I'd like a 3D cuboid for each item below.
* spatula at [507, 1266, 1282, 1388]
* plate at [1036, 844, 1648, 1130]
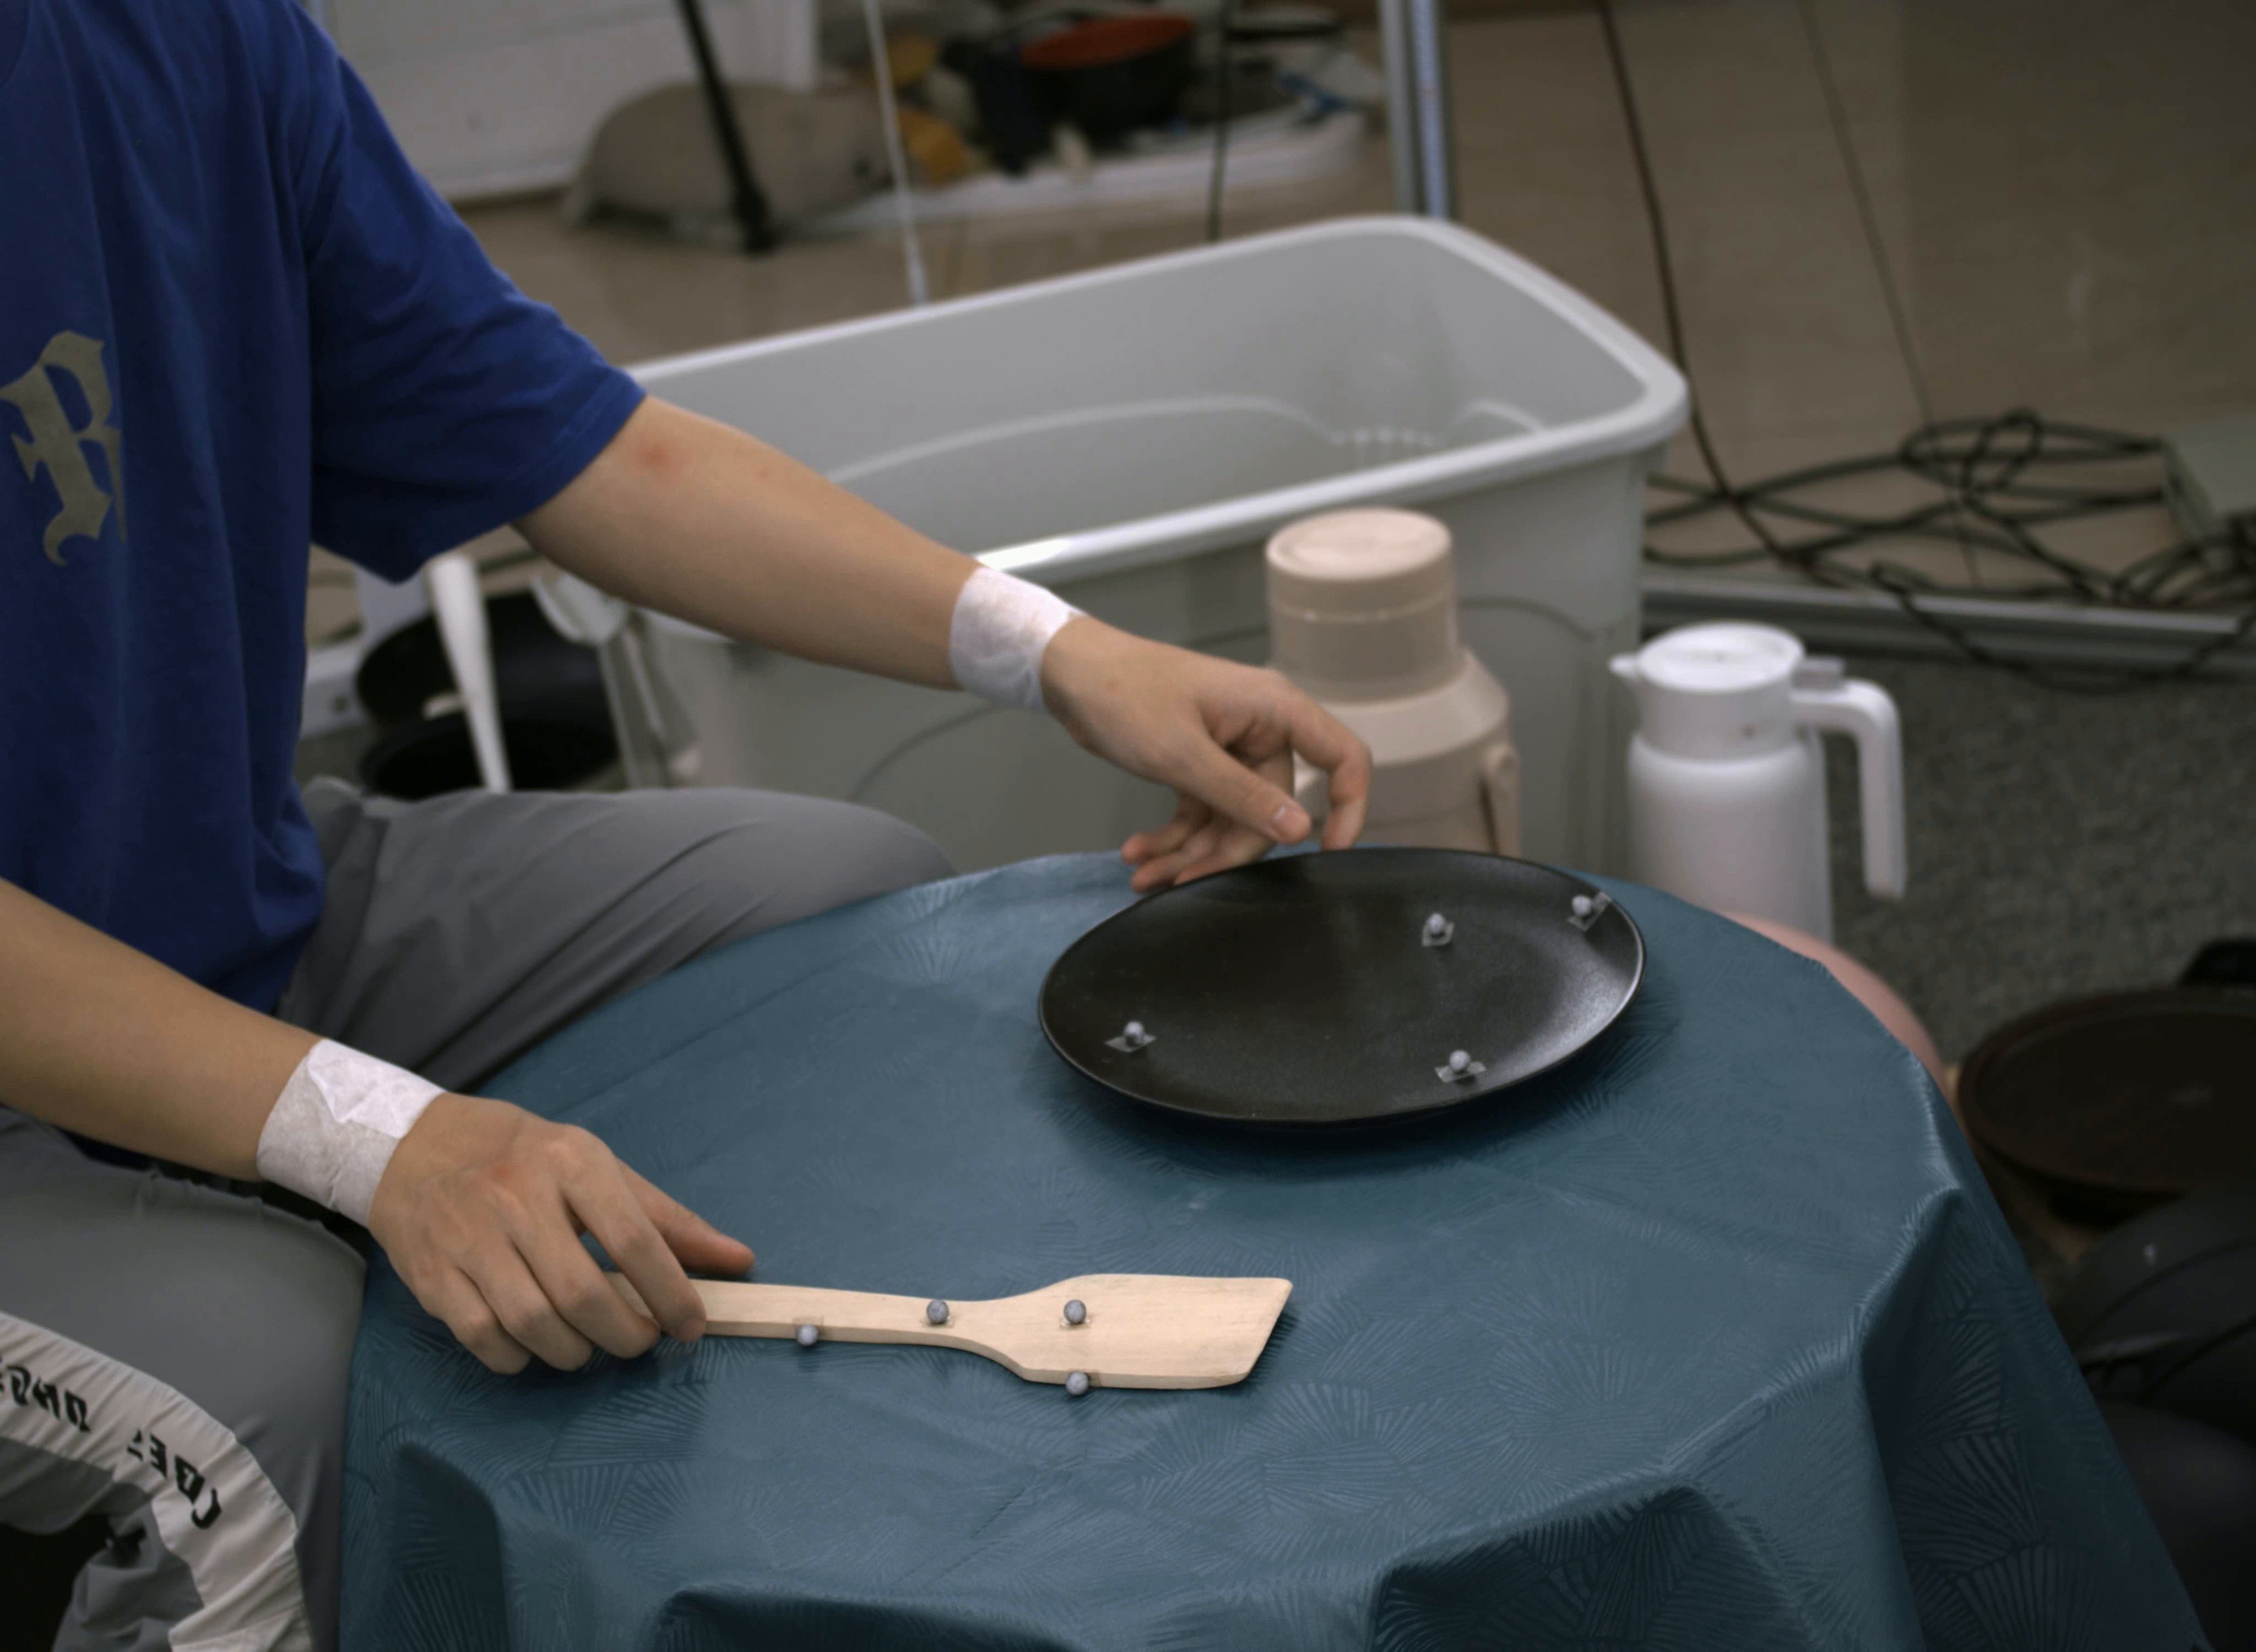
[{"bbox_3d":[-0.091,0.178,2.073,0.292,0.011,0.071,2,27,17],"label":"spatula"},{"bbox_3d":[0.085,0.069,2.249,0.244,0.024,0.241,-5,25,3],"label":"plate"}]
